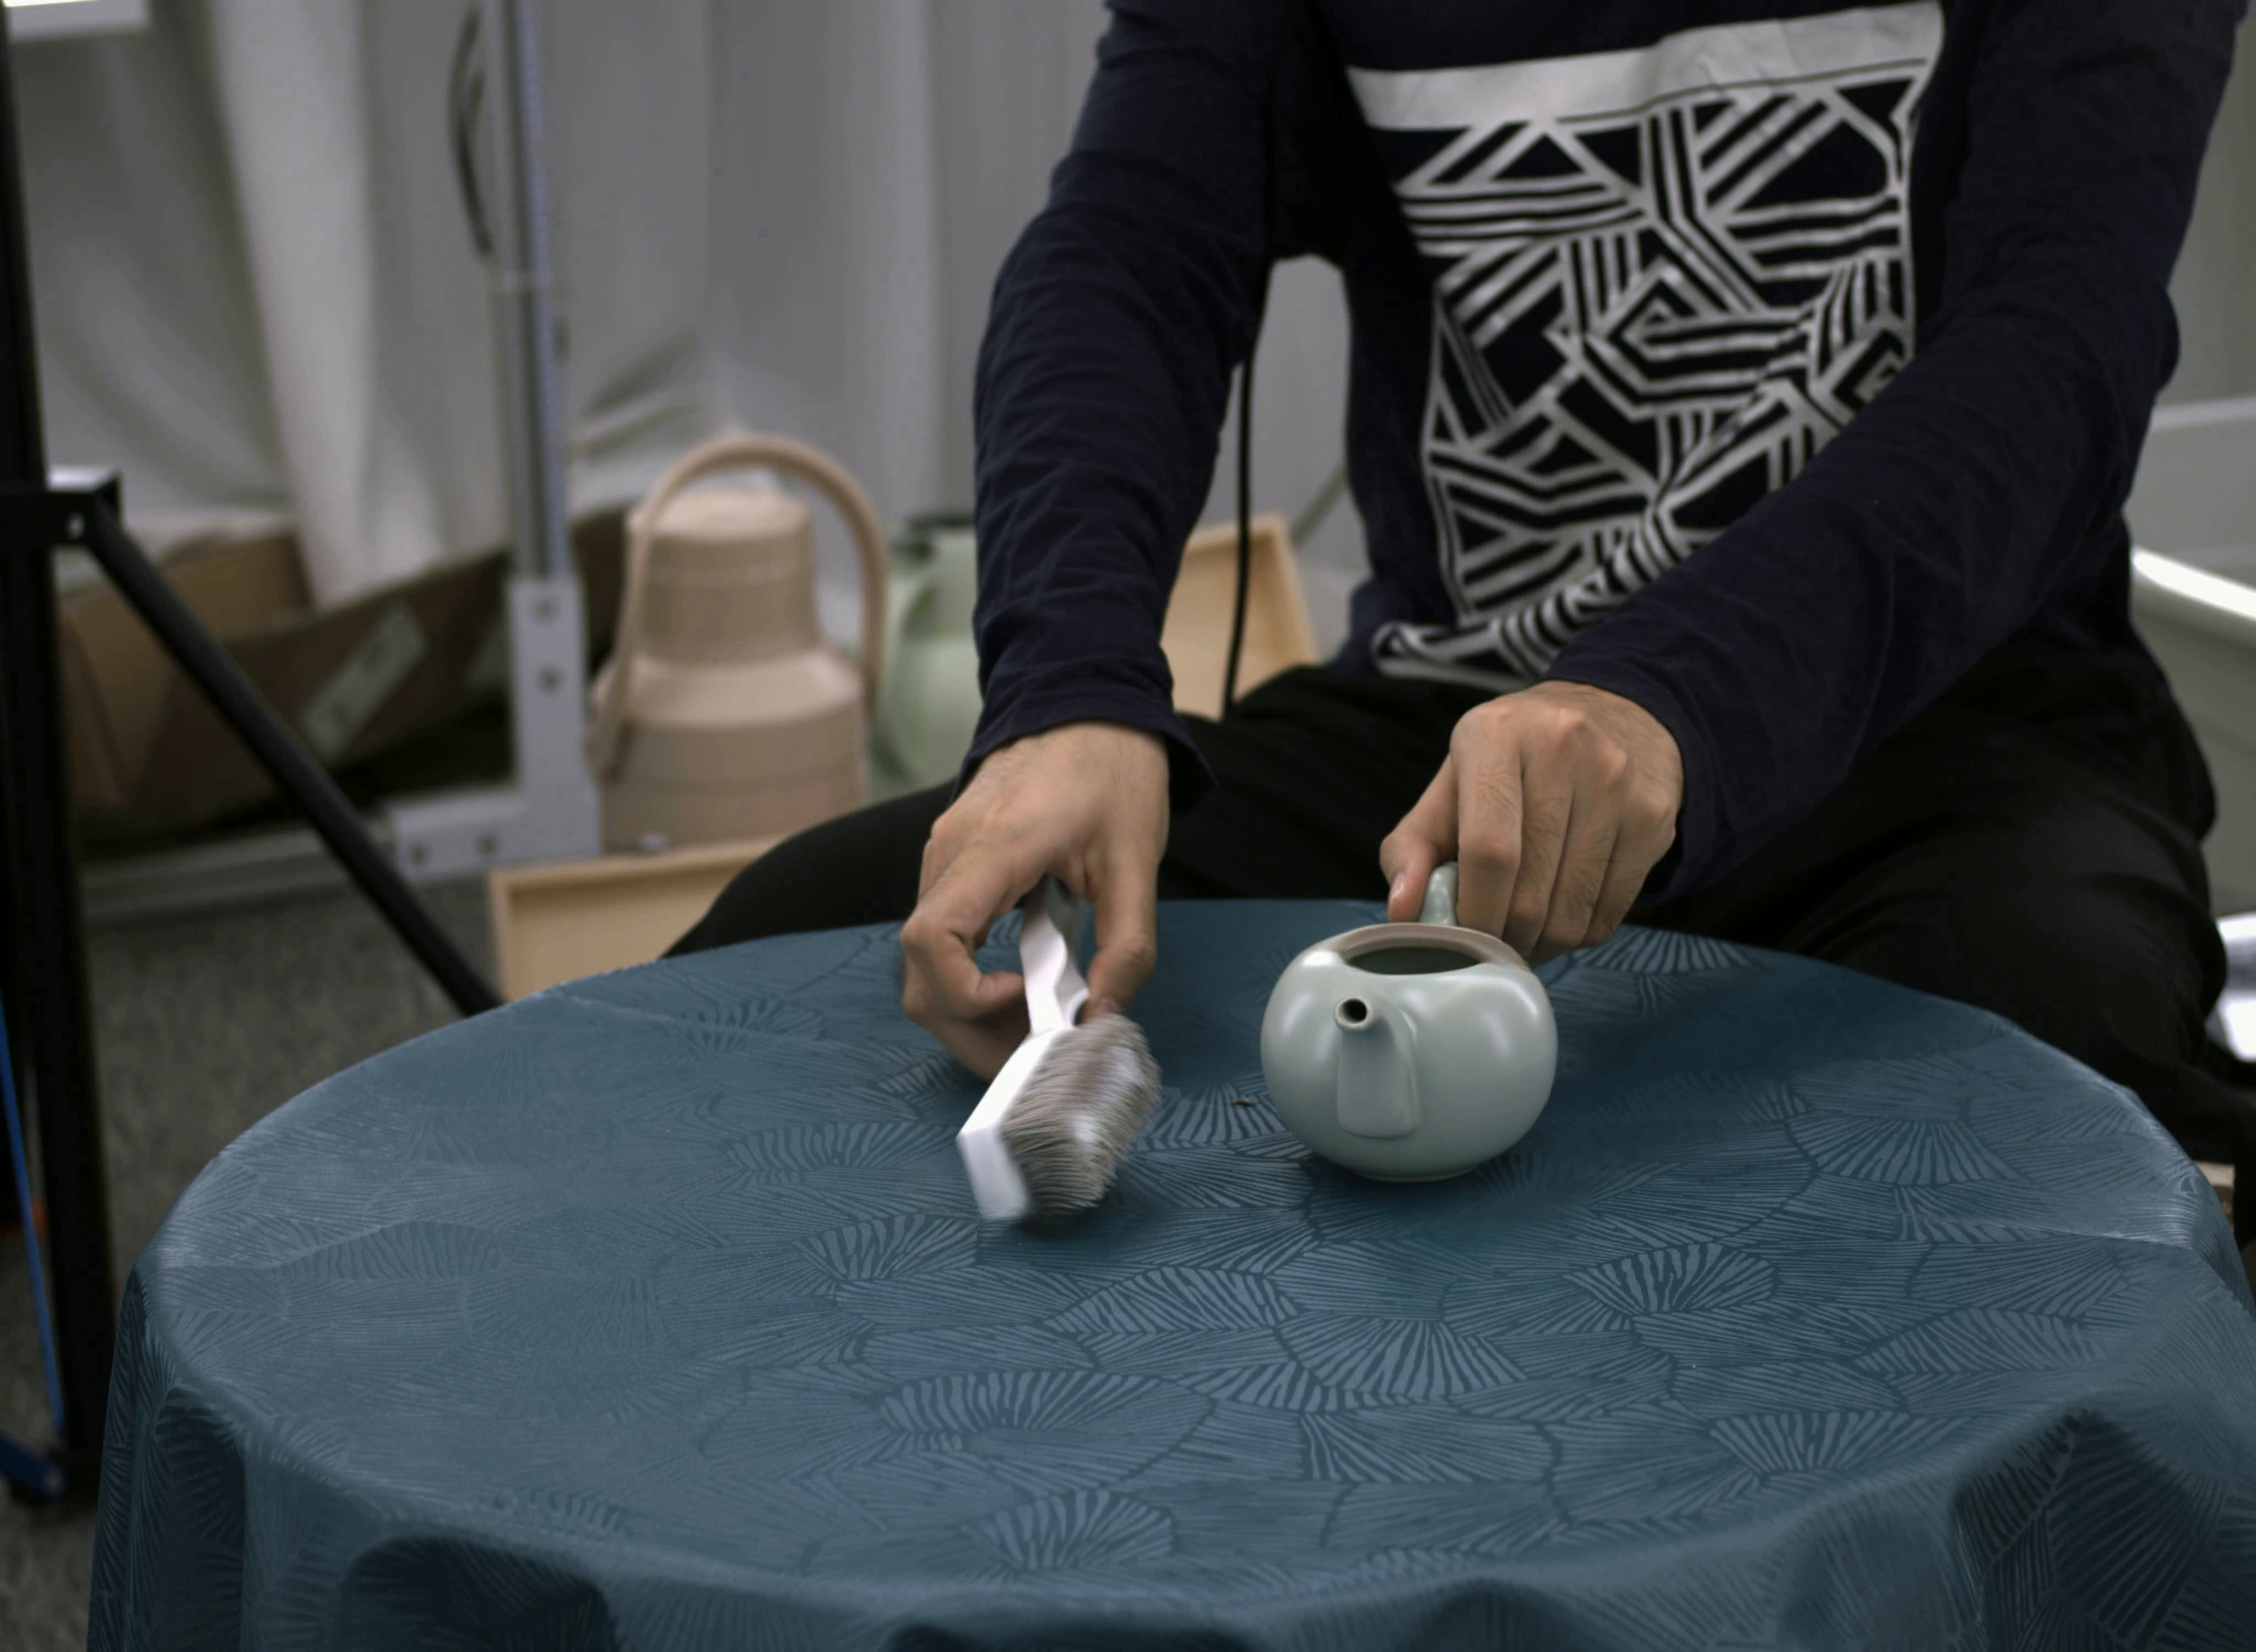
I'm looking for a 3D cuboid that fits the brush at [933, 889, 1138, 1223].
[{"bbox_3d":[-0.010,0.056,1.623,0.050,0.034,0.243,-36,9,20],"label":"brush"}]

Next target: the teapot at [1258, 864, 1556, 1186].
[{"bbox_3d":[0.083,0.065,1.568,0.089,0.074,0.142,2,18,18],"label":"teapot"}]
